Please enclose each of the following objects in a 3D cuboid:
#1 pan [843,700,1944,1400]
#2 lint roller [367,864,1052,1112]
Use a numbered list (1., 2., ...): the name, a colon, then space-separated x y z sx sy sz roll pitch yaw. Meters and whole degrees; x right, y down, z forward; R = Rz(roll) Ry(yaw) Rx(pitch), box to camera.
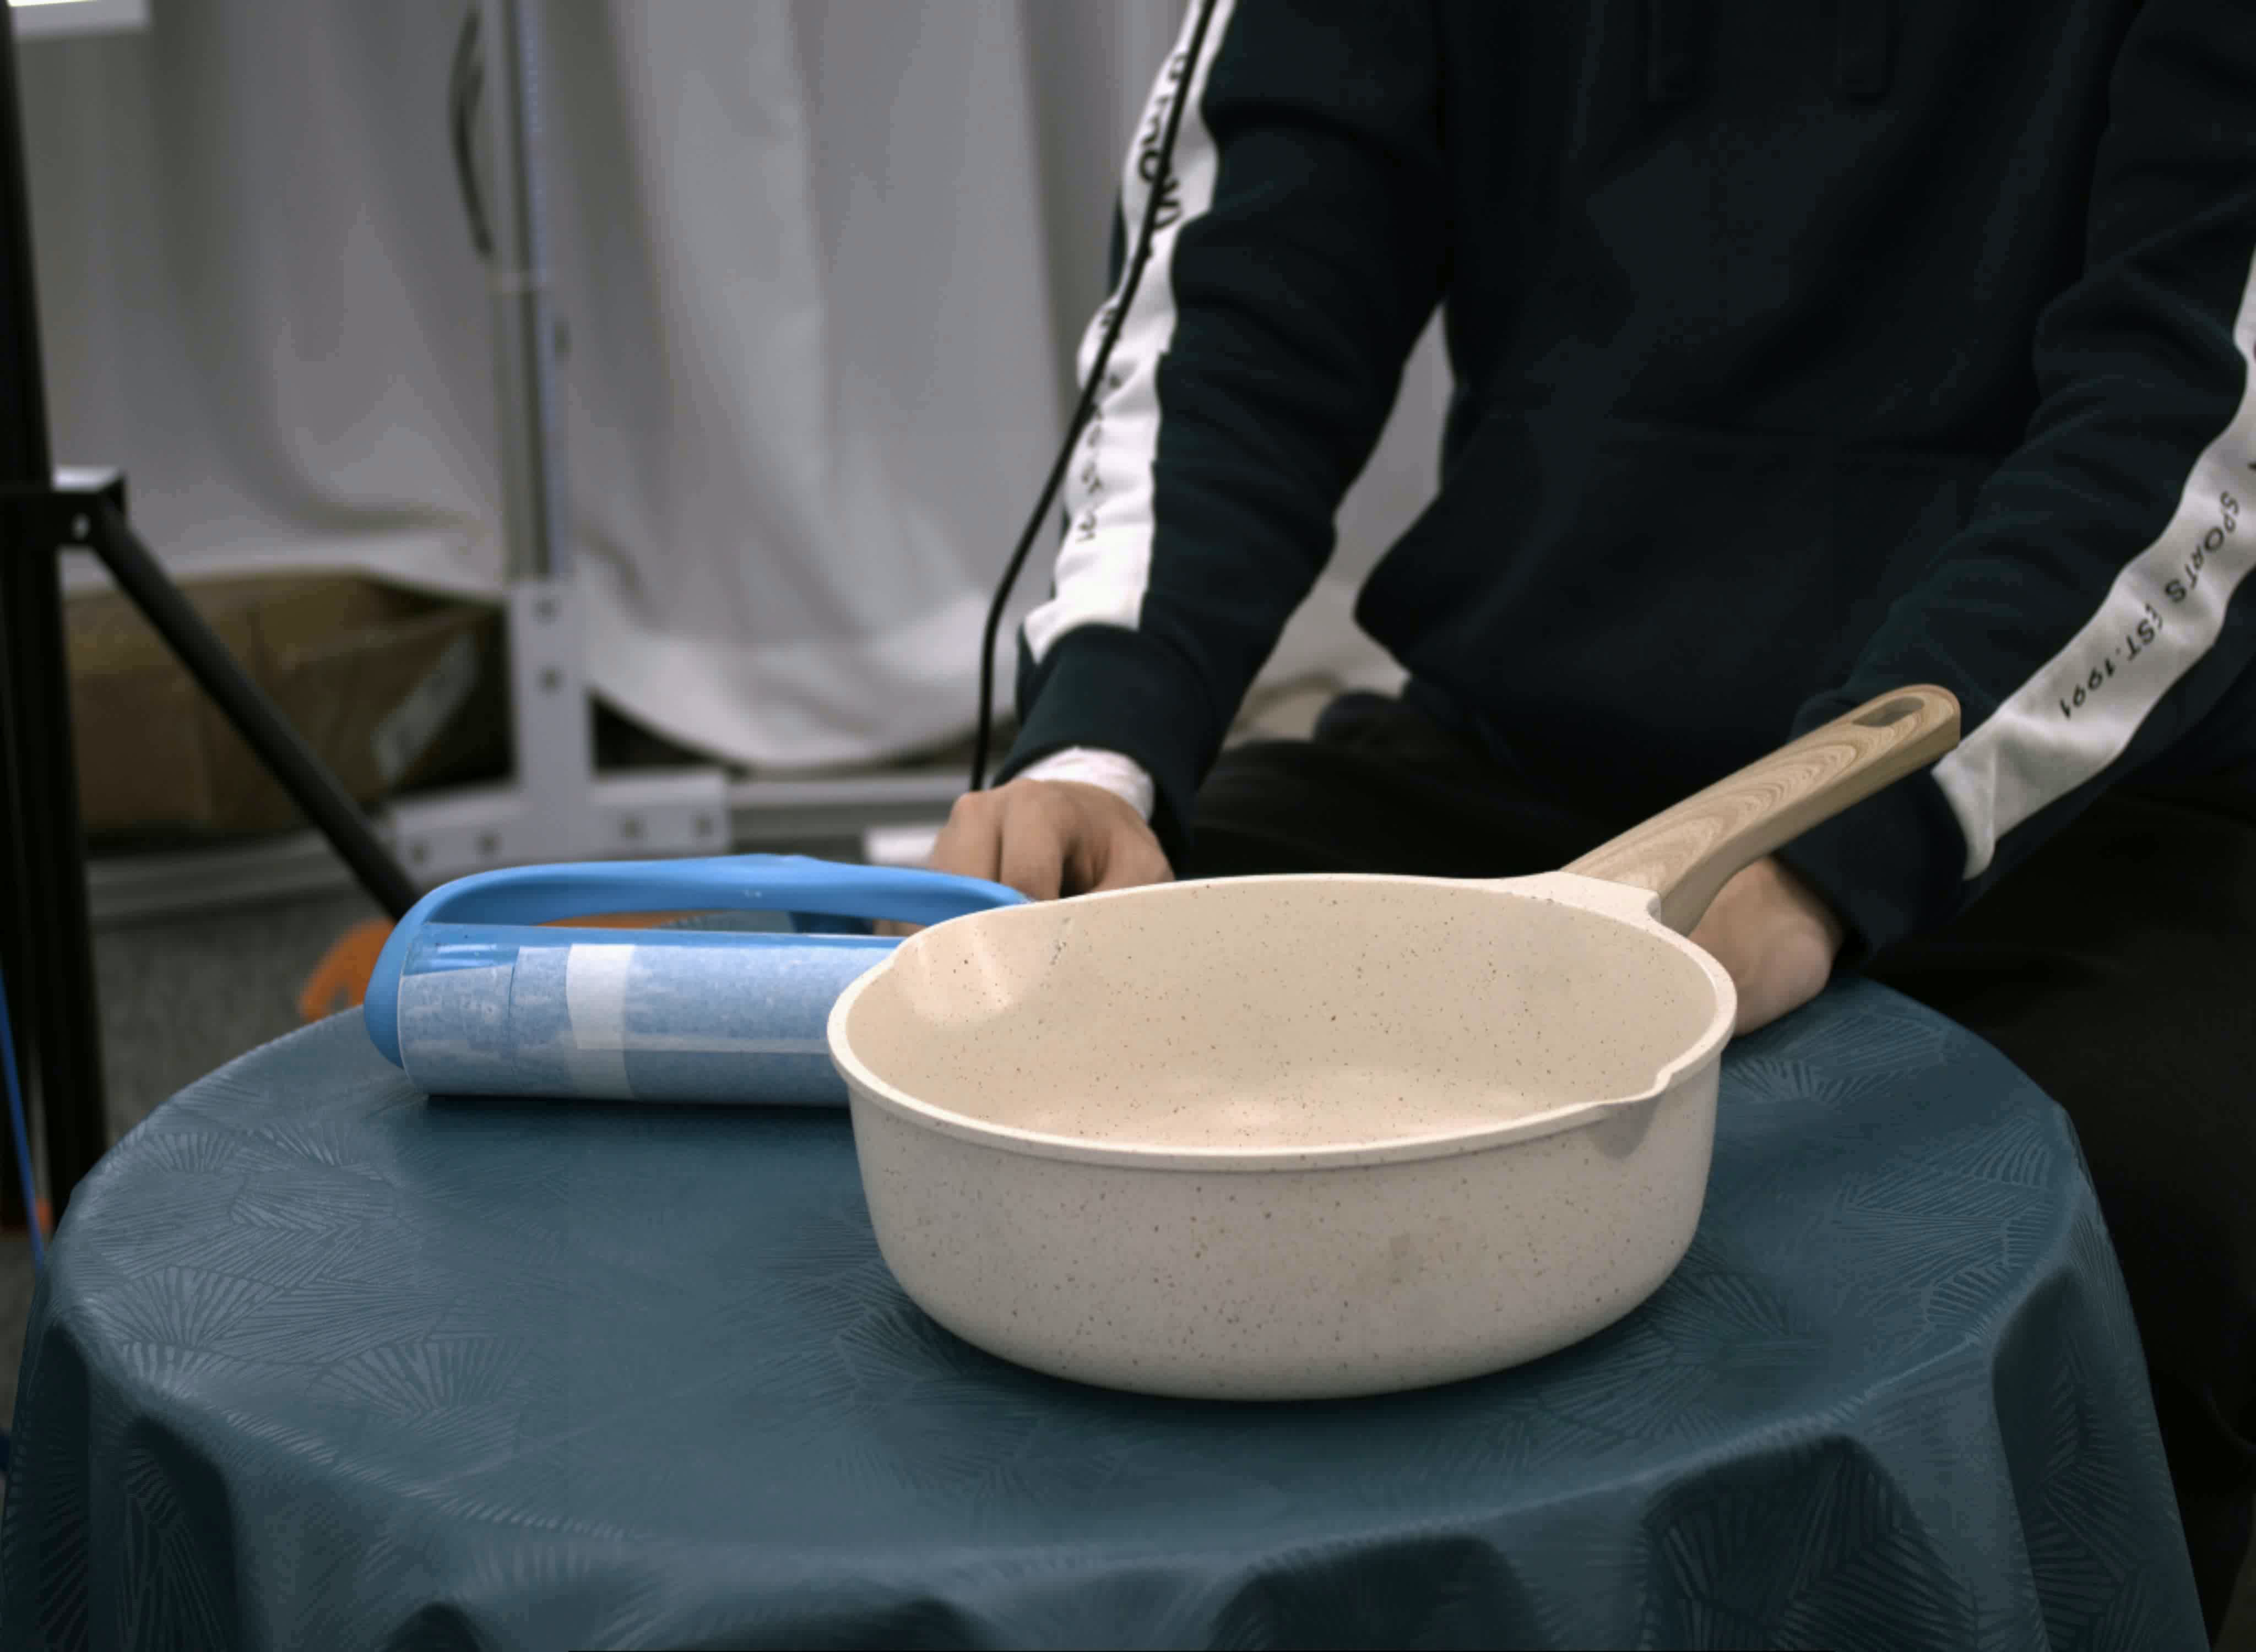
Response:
1. pan: 0.109 0.060 1.526 0.269 0.102 0.425 10 20 43
2. lint roller: -0.117 0.042 1.707 0.230 0.068 0.179 -1 17 11
